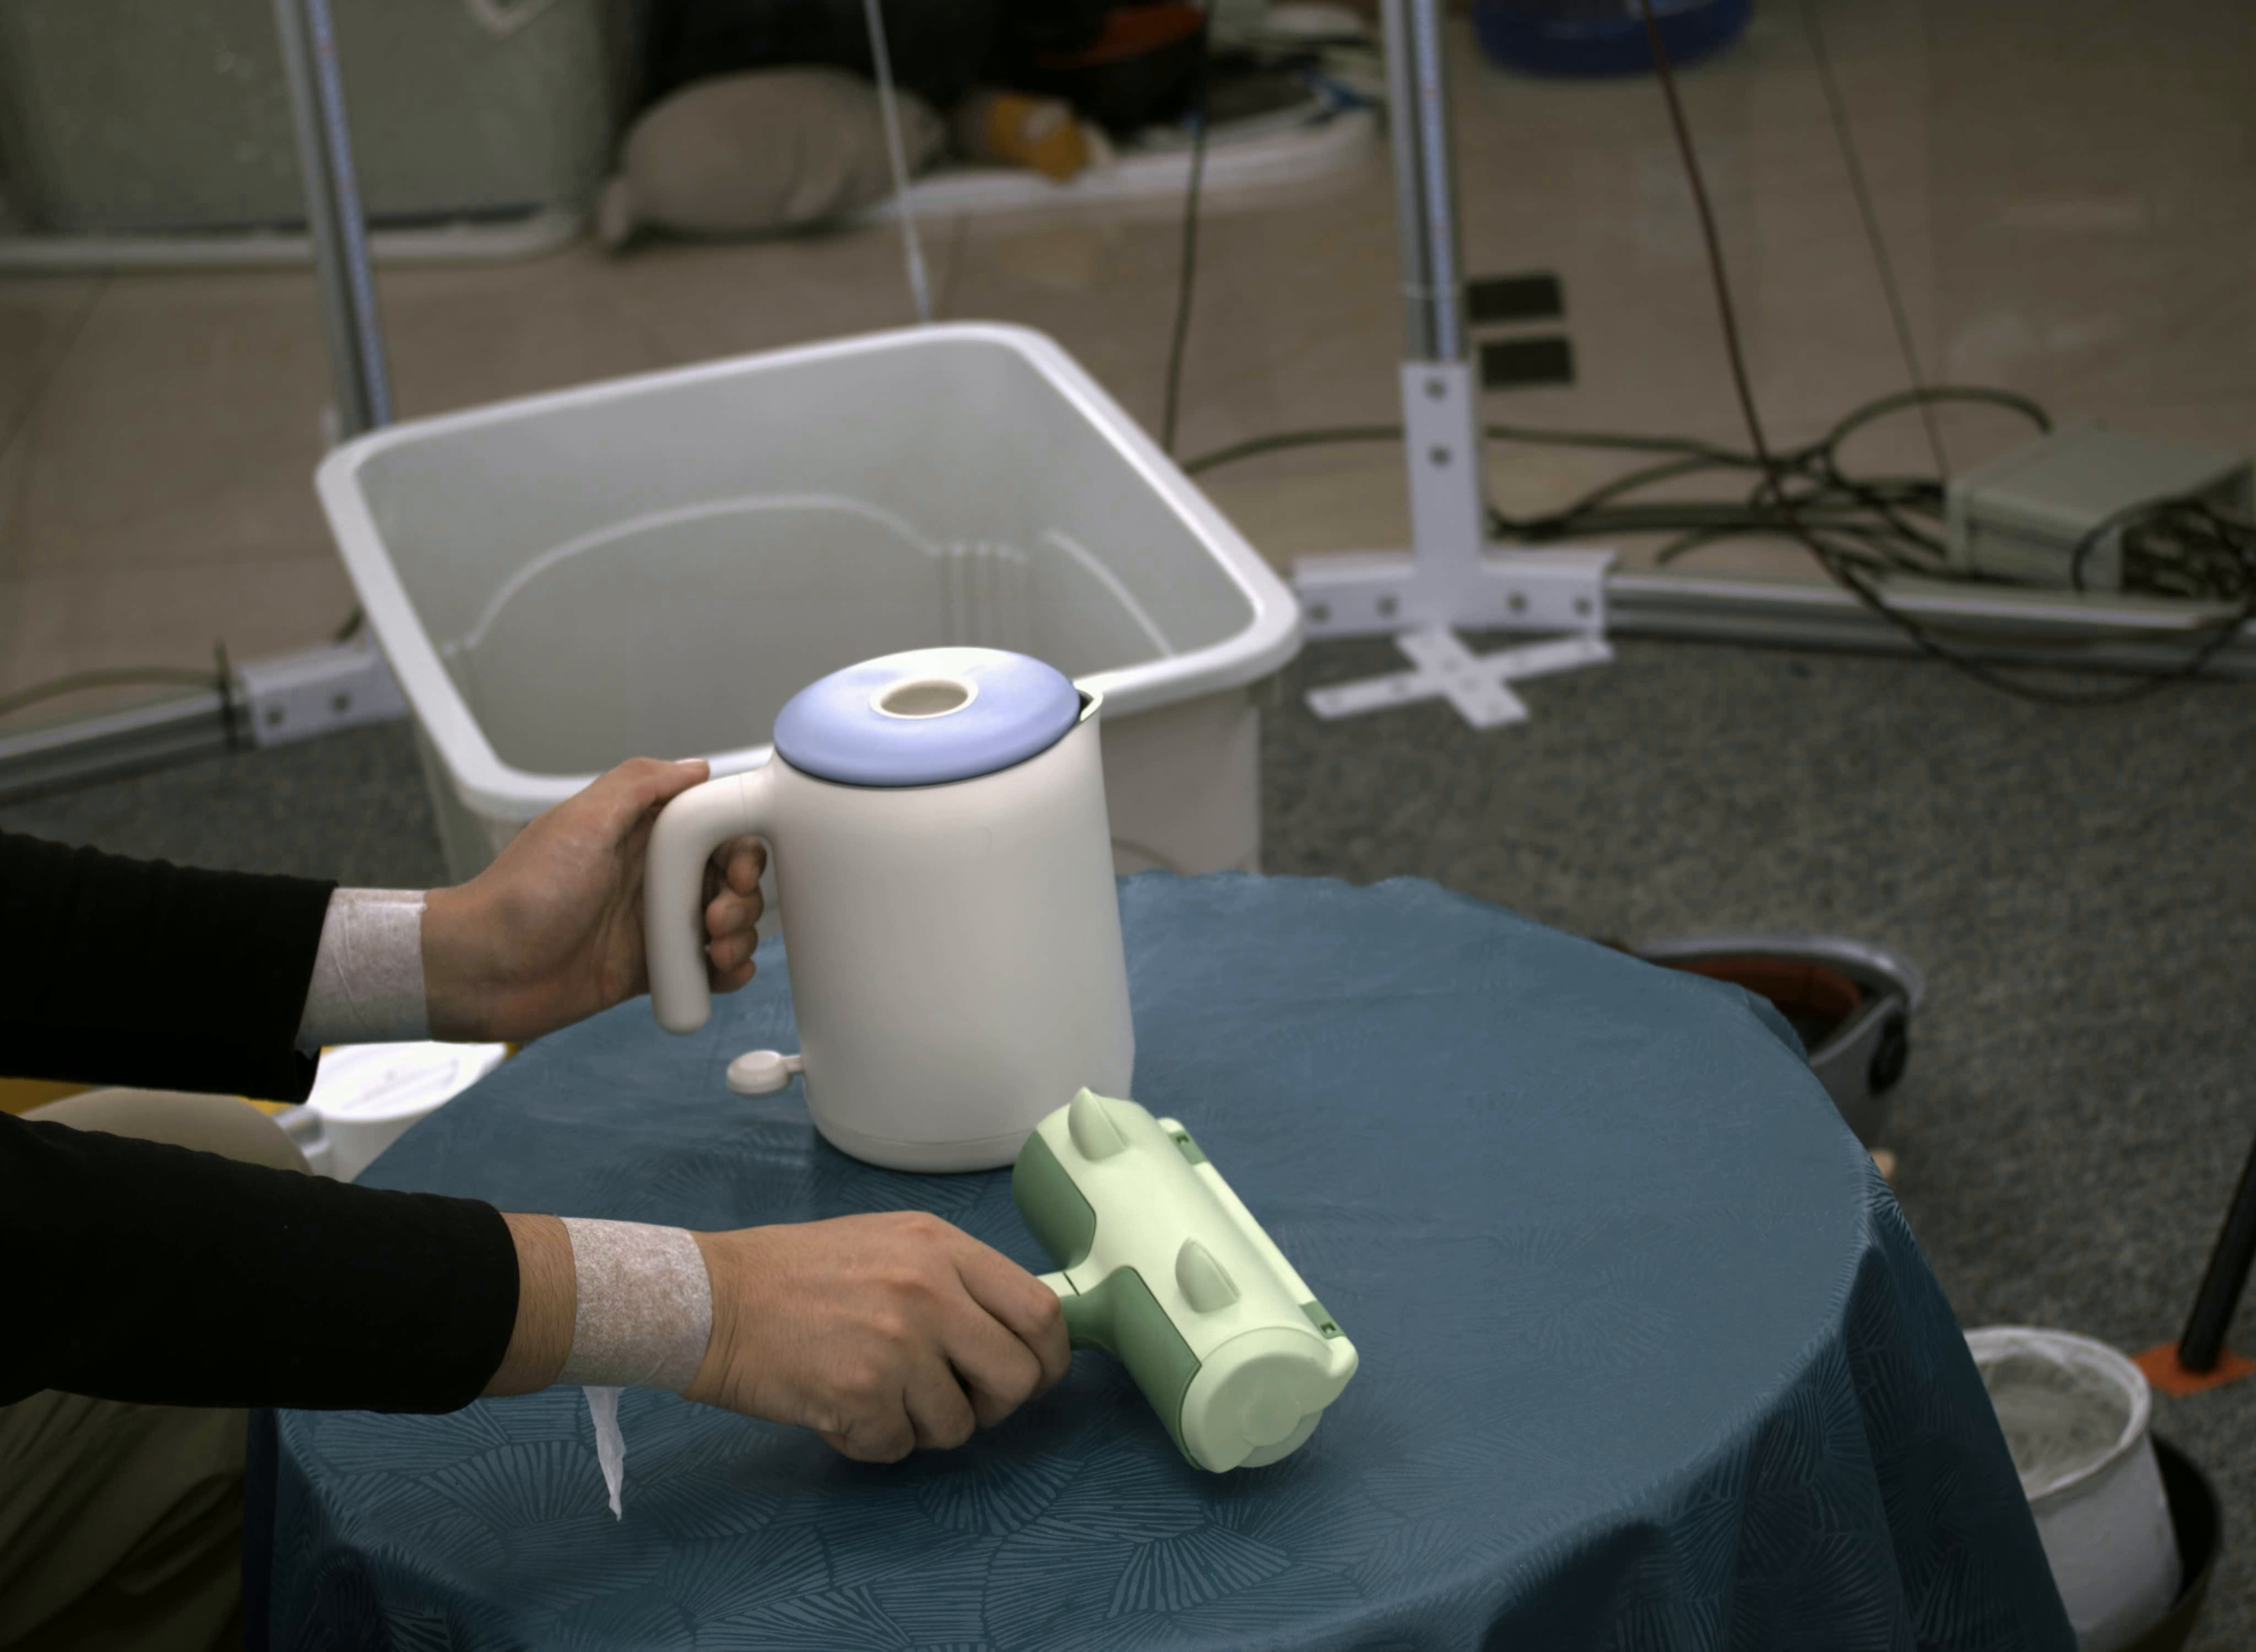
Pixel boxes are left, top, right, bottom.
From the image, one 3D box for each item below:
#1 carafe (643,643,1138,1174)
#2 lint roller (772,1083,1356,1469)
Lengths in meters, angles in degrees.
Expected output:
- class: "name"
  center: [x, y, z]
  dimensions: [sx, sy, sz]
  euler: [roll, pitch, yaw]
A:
- class: "carafe"
  center: [-0.093, 0.036, 2.186]
  dimensions: [0.190, 0.185, 0.130]
  euler: [-11, 25, -5]
- class: "lint roller"
  center: [-0.037, 0.159, 1.989]
  dimensions: [0.183, 0.083, 0.196]
  euler: [-8, 27, -17]
